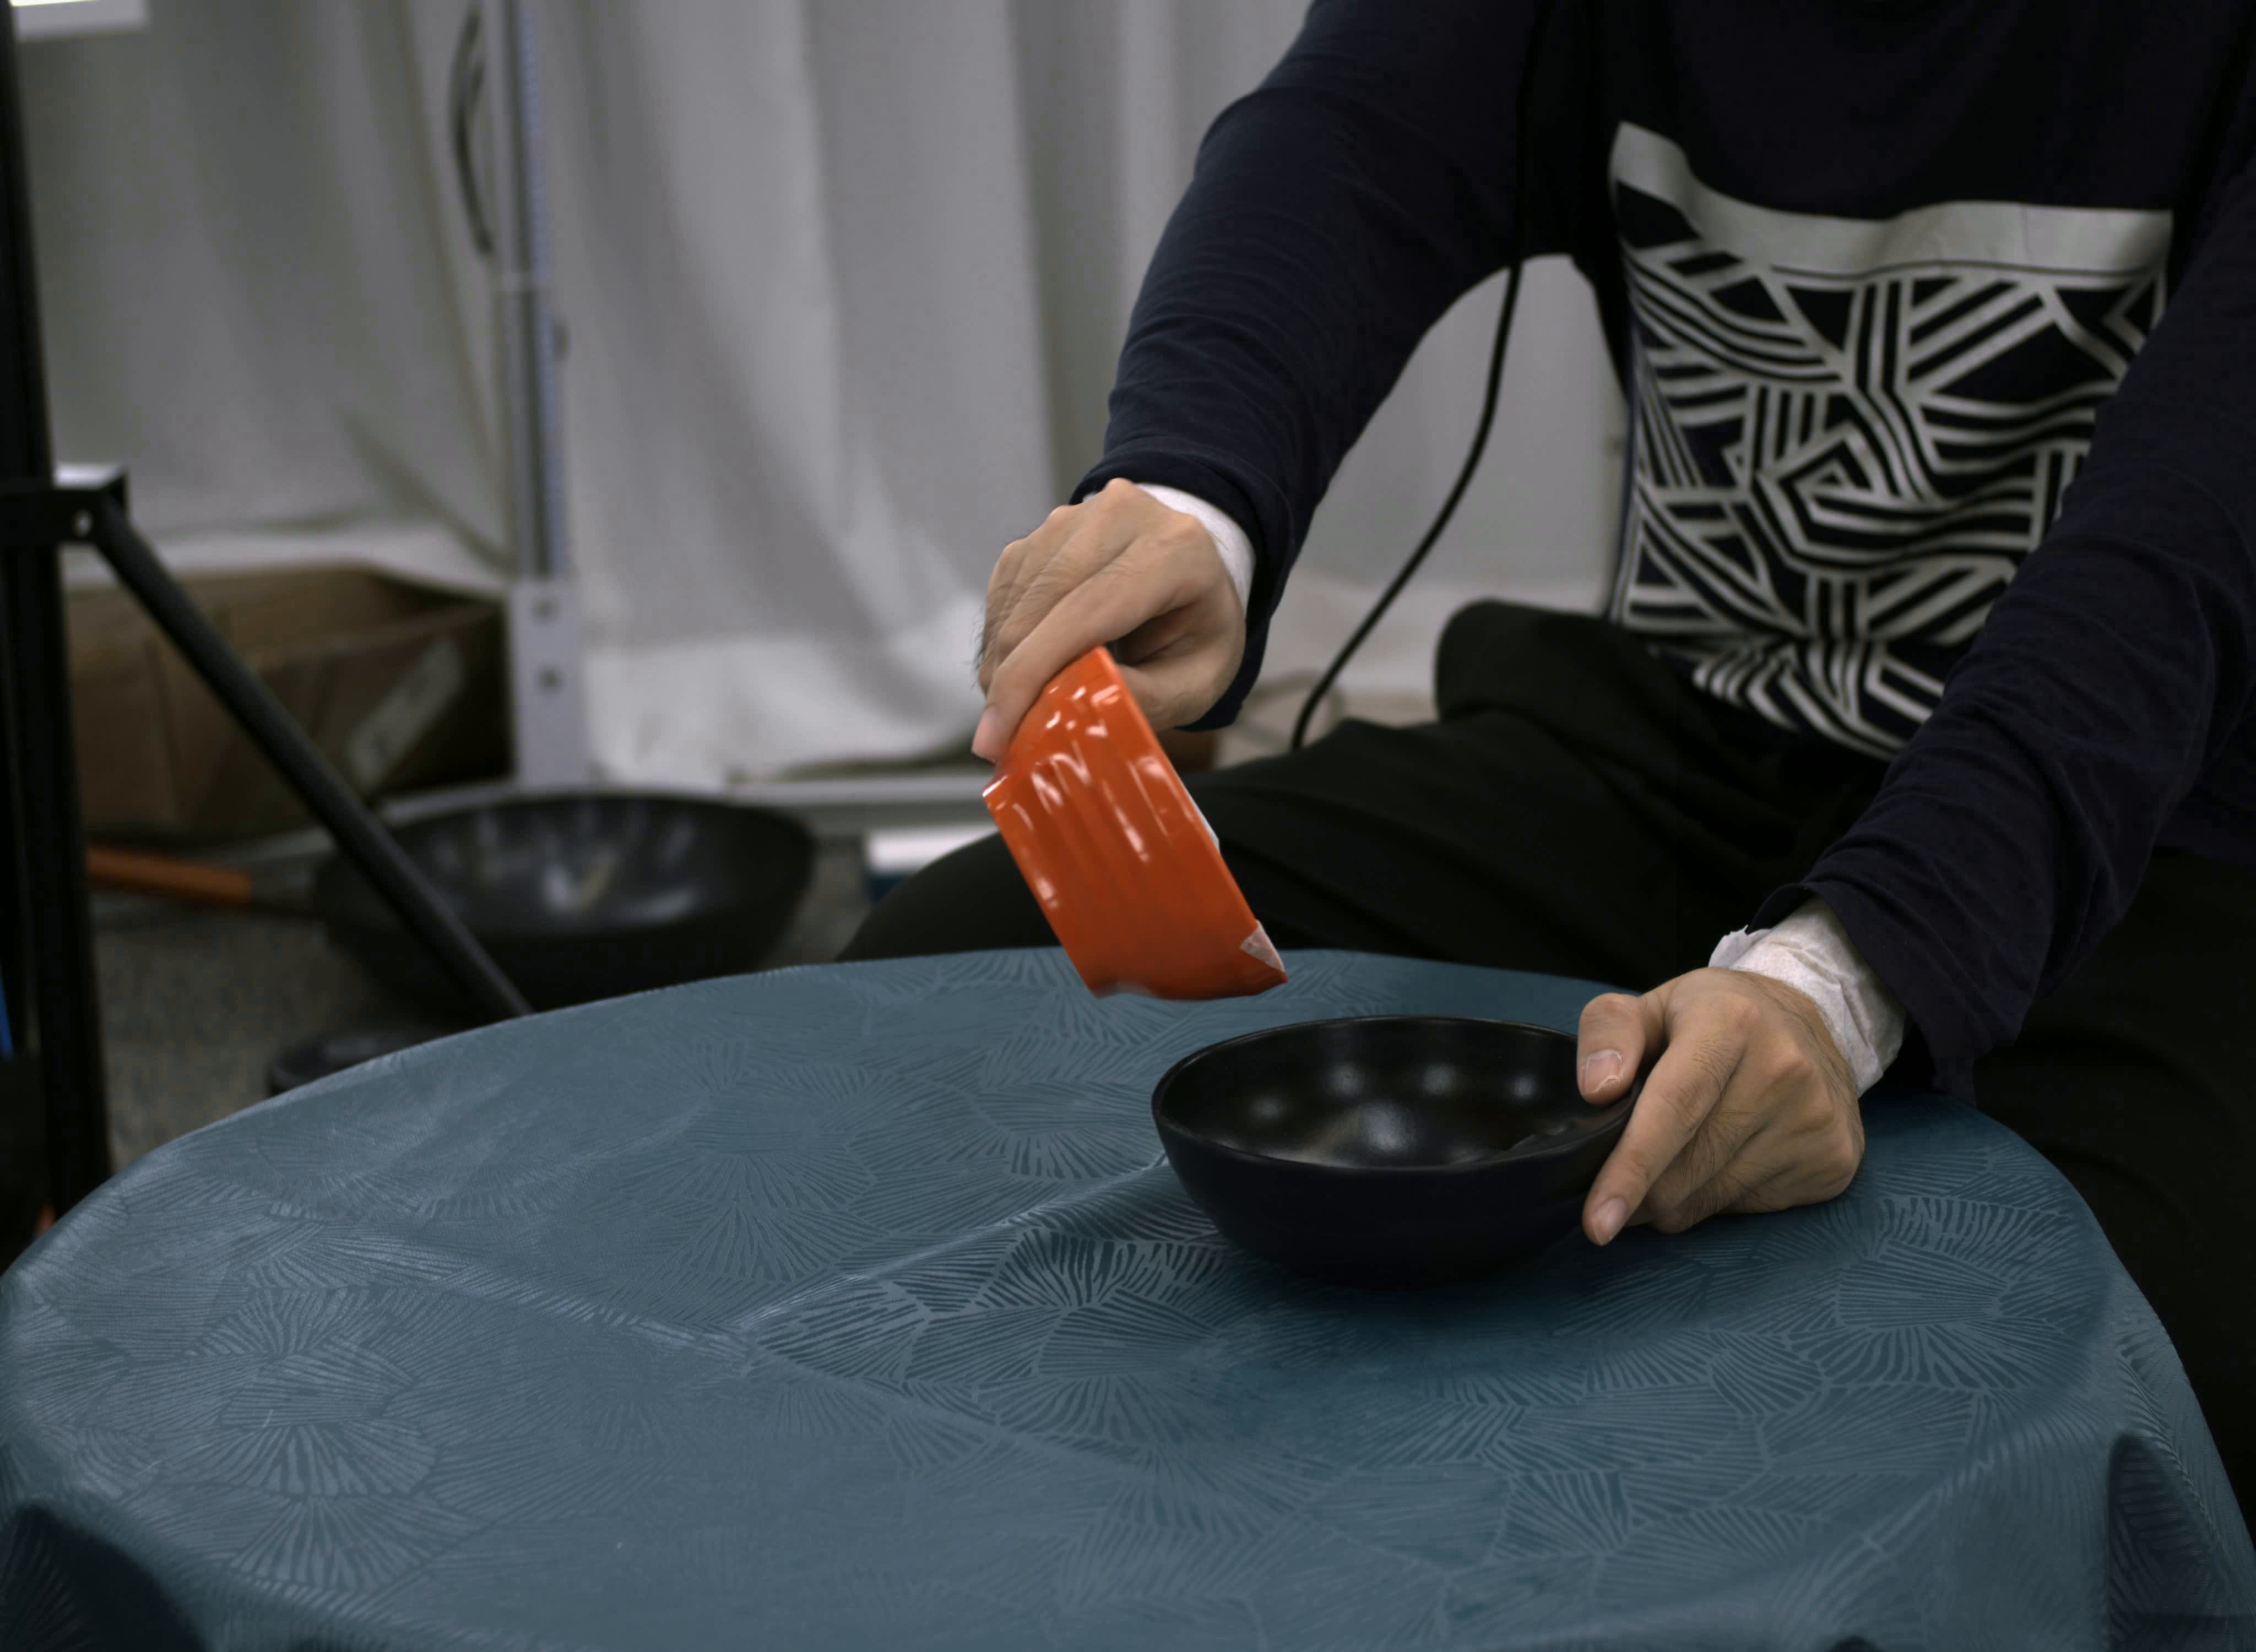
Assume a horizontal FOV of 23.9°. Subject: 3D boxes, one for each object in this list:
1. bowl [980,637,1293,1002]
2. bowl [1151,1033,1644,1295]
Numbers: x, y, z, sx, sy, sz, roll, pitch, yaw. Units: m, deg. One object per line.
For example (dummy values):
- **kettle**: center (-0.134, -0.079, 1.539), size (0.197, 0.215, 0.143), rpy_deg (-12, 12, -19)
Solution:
- **bowl**: center (-0.002, 0.008, 1.482), size (0.051, 0.118, 0.120), rpy_deg (-31, 16, 3)
- **bowl**: center (0.076, 0.100, 1.499), size (0.139, 0.050, 0.140), rpy_deg (-1, 12, -1)
